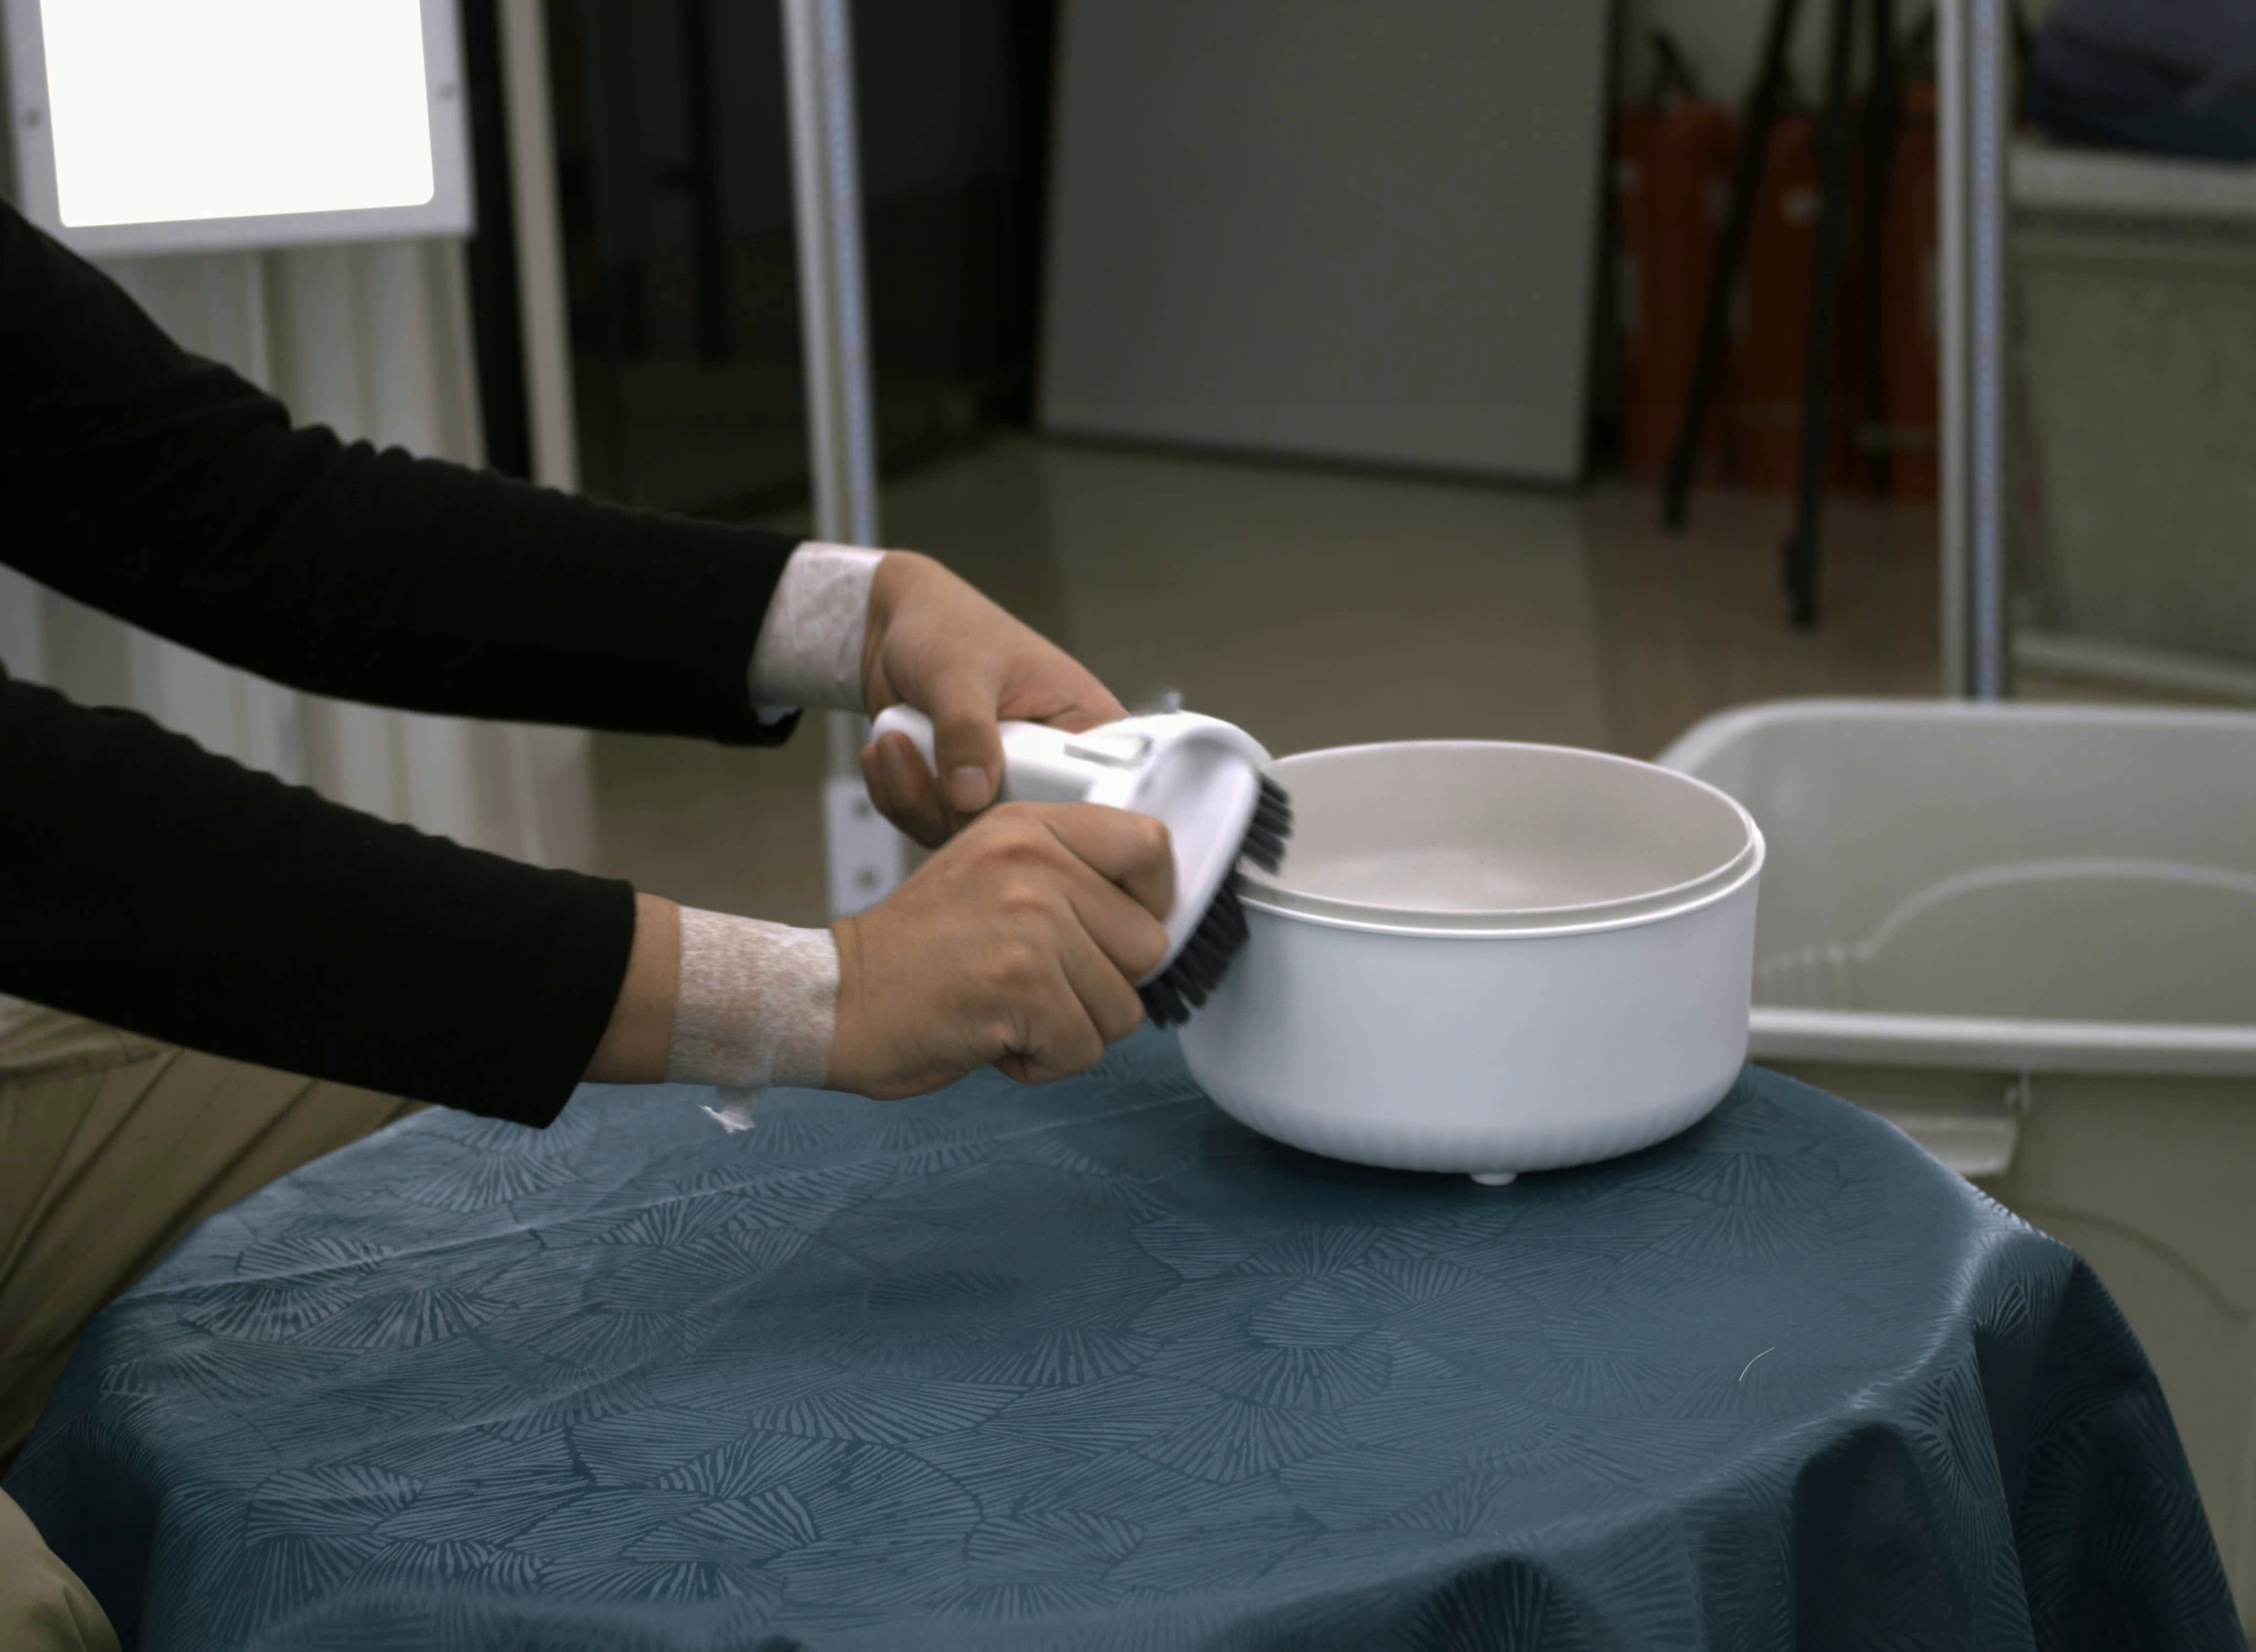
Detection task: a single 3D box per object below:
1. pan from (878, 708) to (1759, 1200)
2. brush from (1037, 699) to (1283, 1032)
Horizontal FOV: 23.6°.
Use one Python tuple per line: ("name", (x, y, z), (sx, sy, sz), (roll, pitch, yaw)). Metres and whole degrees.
("pan", (0.054, 0.036, 1.860), (0.357, 0.103, 0.197), (13, 23, 39))
("brush", (0.003, 0.006, 1.732), (0.050, 0.099, 0.072), (15, -21, 36))
